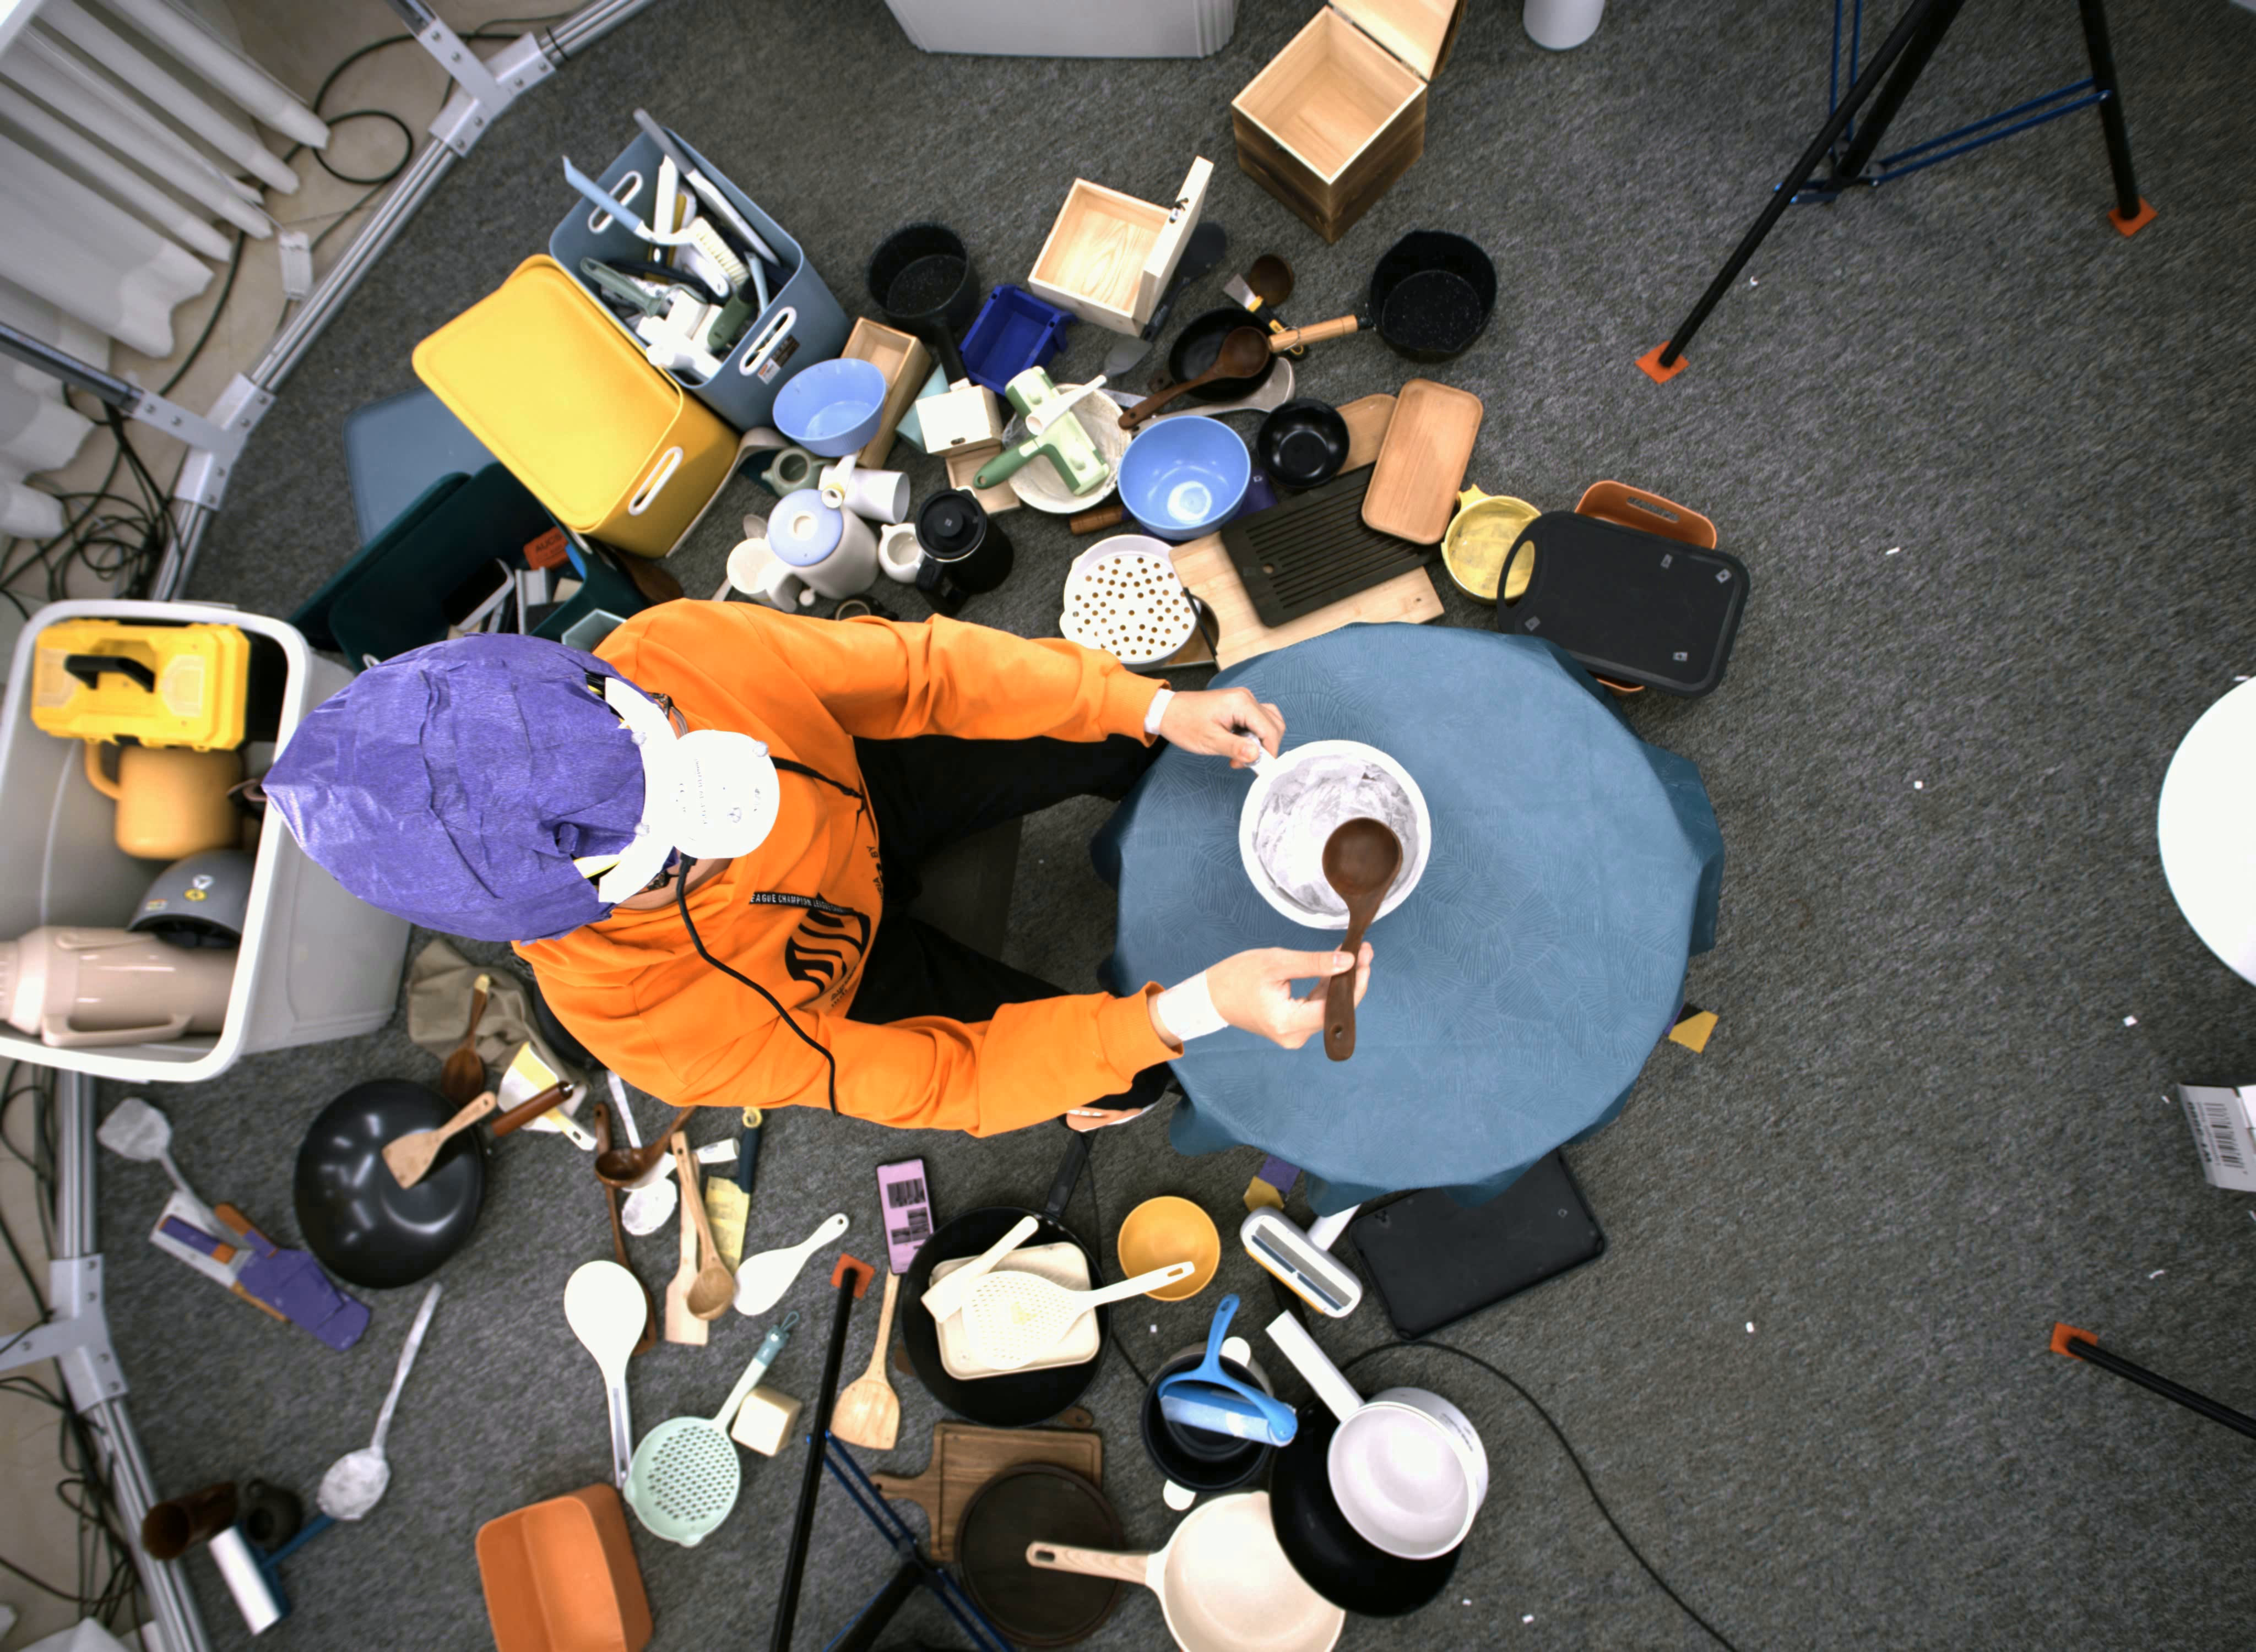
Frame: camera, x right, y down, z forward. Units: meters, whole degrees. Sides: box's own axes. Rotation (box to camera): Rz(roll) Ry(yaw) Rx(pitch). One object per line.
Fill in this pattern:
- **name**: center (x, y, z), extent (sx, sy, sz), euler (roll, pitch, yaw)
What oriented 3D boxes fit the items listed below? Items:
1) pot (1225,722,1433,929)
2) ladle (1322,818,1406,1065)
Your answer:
- **pot**: center (0.184, -0.013, 1.346), extent (0.233, 0.136, 0.180), euler (43, 99, 5)
- **ladle**: center (0.187, 0.089, 1.170), extent (0.077, 0.253, 0.066), euler (-19, 119, 32)
